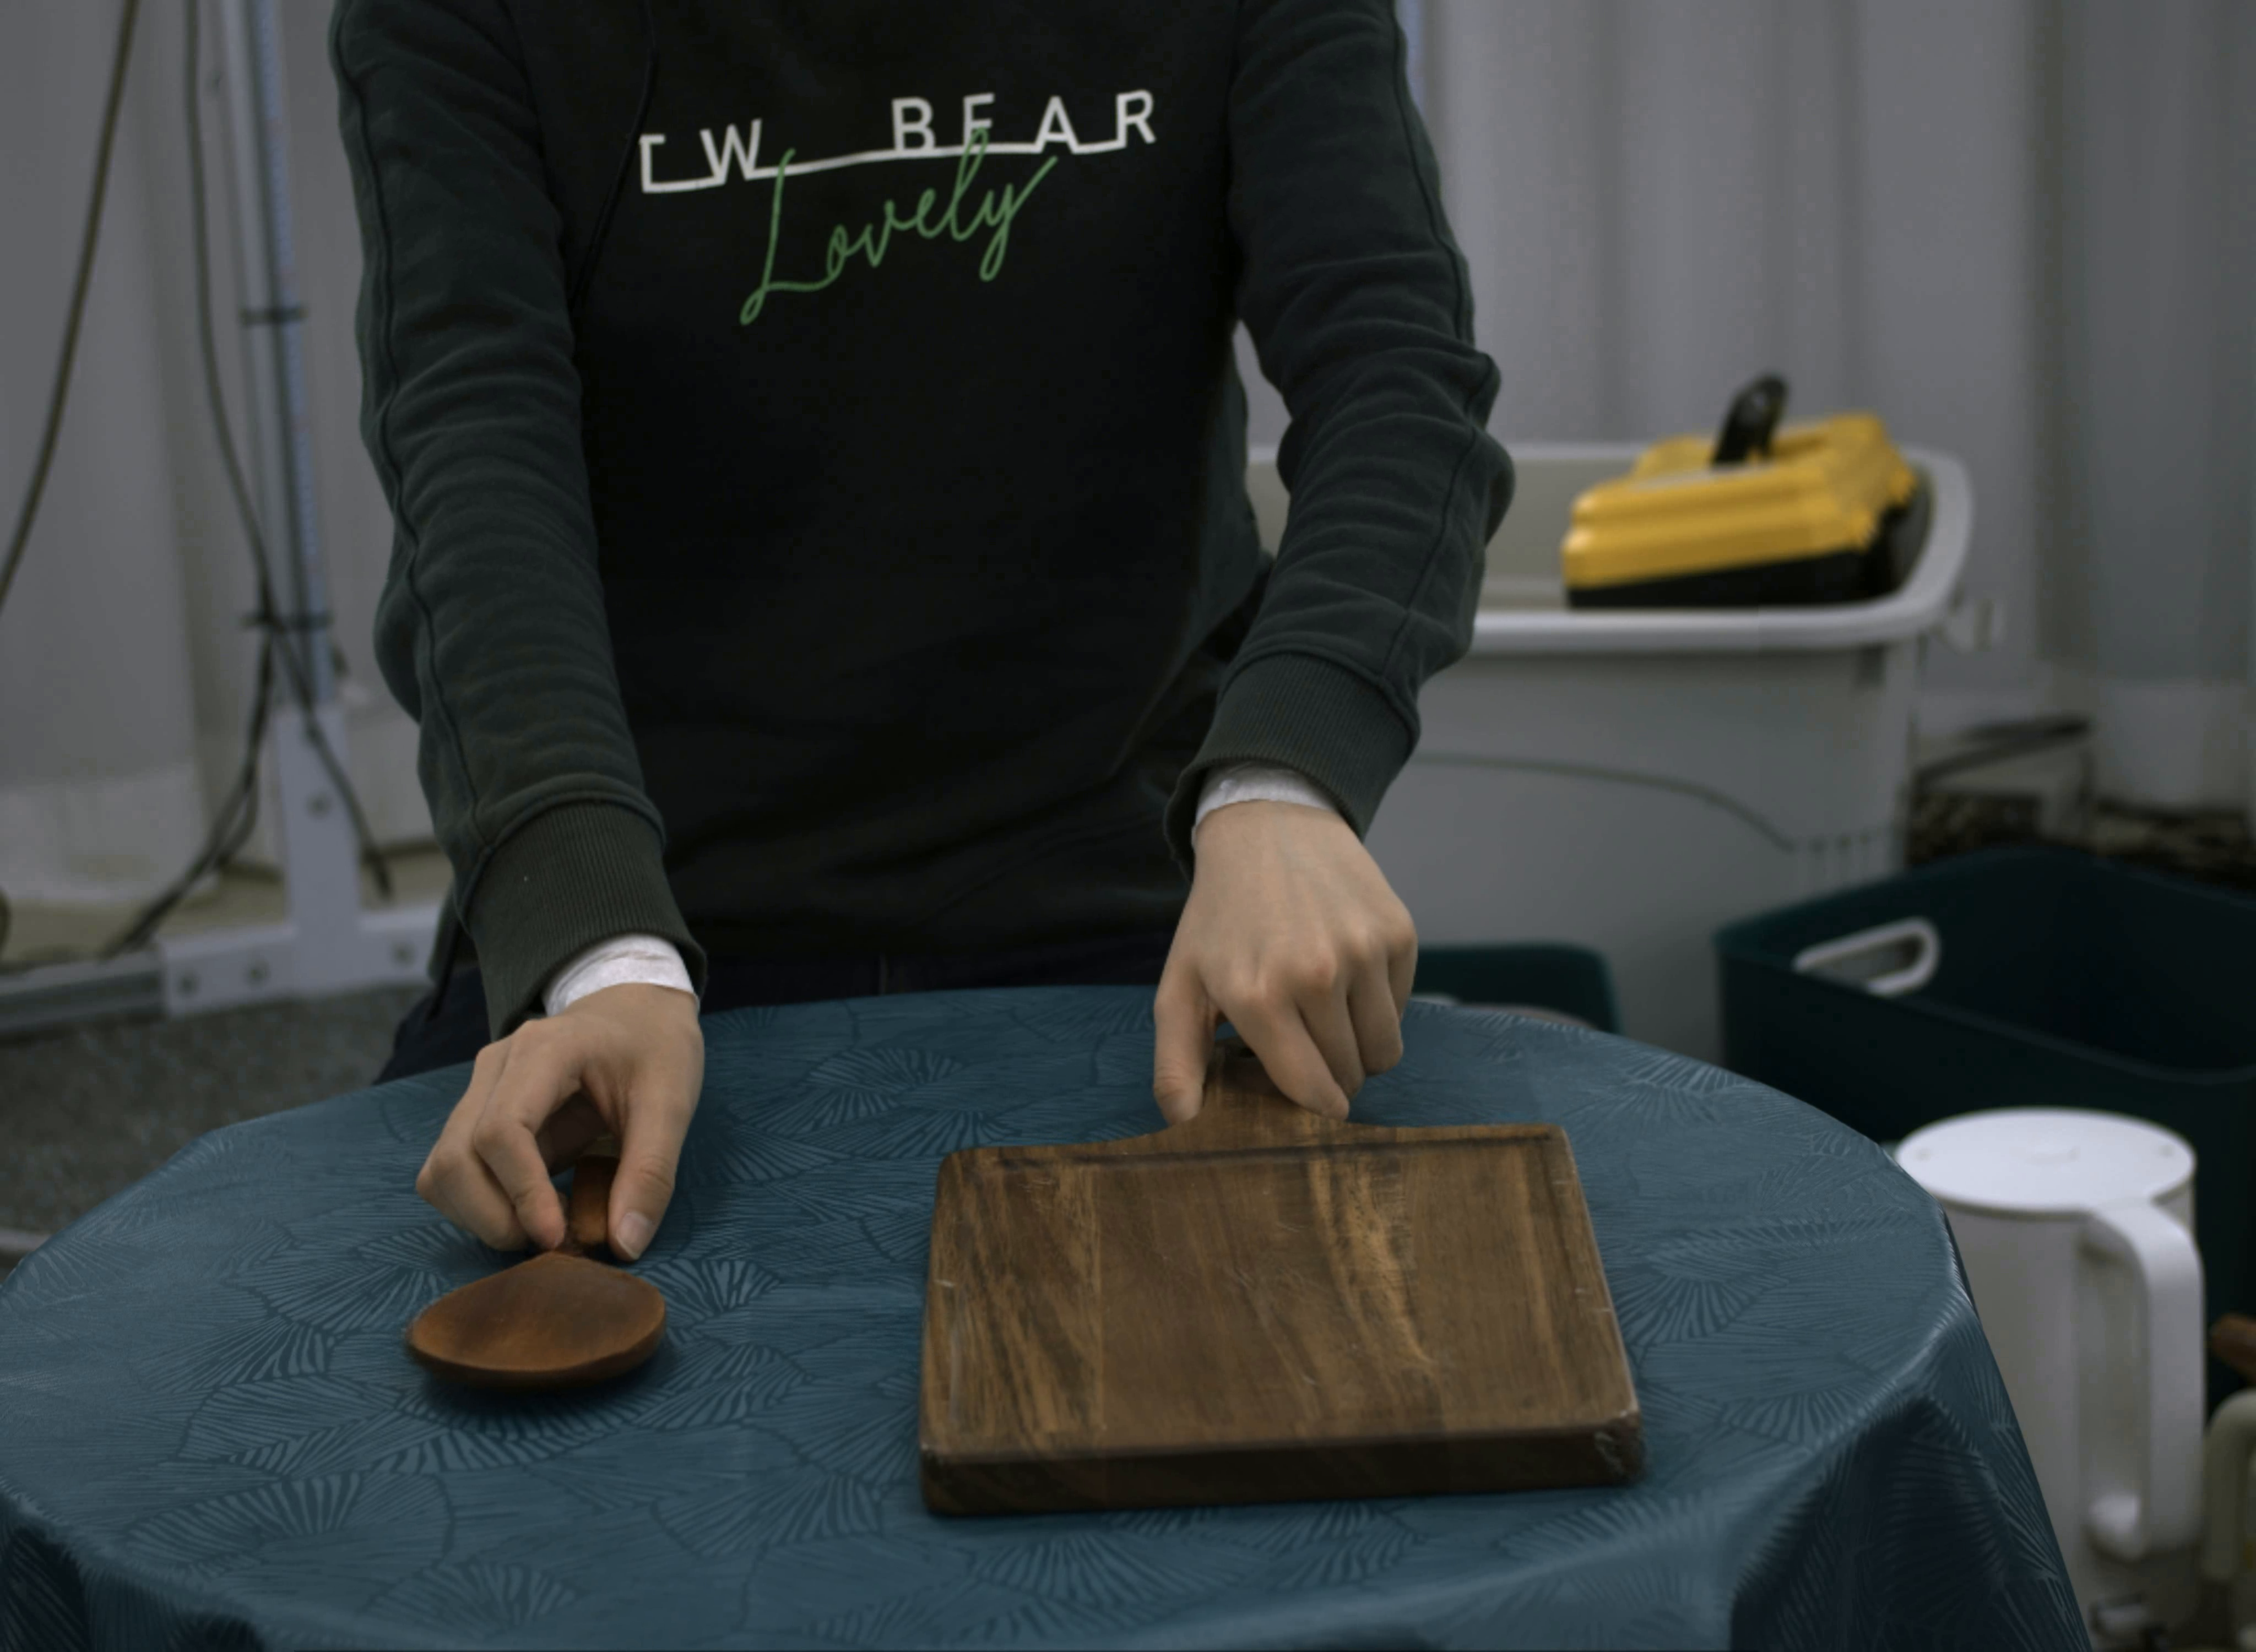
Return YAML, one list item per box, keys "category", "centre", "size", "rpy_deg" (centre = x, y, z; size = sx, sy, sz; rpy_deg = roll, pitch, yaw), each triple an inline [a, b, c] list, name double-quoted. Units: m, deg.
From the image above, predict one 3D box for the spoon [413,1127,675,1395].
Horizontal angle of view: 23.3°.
- category: "spoon"
  centre: [-0.166, 0.132, 1.647]
  size: [0.075, 0.017, 0.217]
  rpy_deg: [-4, 15, 4]

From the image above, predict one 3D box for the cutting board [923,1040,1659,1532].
- category: "cutting board"
  centre: [0.040, 0.127, 1.621]
  size: [0.200, 0.023, 0.354]
  rpy_deg: [-4, 15, 0]
